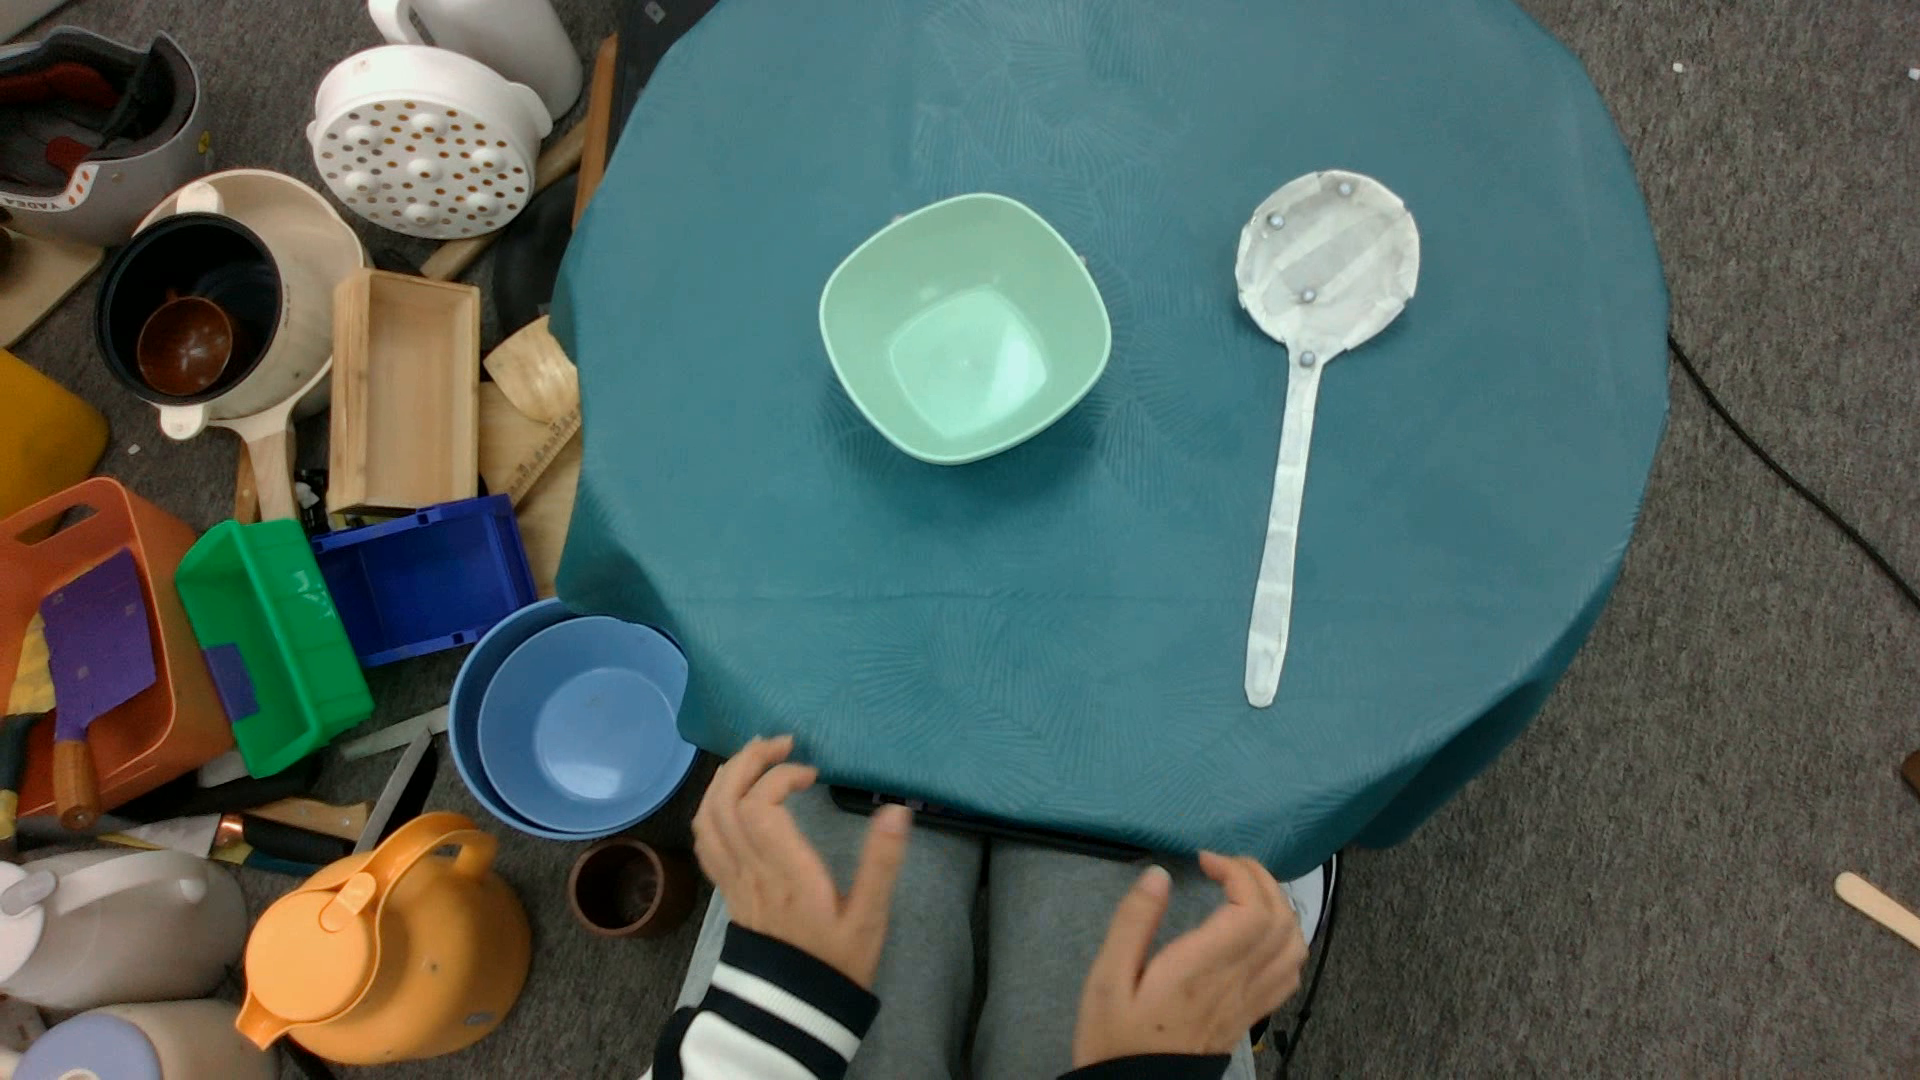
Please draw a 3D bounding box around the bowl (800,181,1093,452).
[{"bbox_3d":[-0.006,-0.109,0.726,0.151,0.058,0.152,0,73,2],"label":"bowl"}]

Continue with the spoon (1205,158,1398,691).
[{"bbox_3d":[0.157,-0.062,0.705,0.100,0.059,0.278,12,74,9],"label":"spoon"}]
